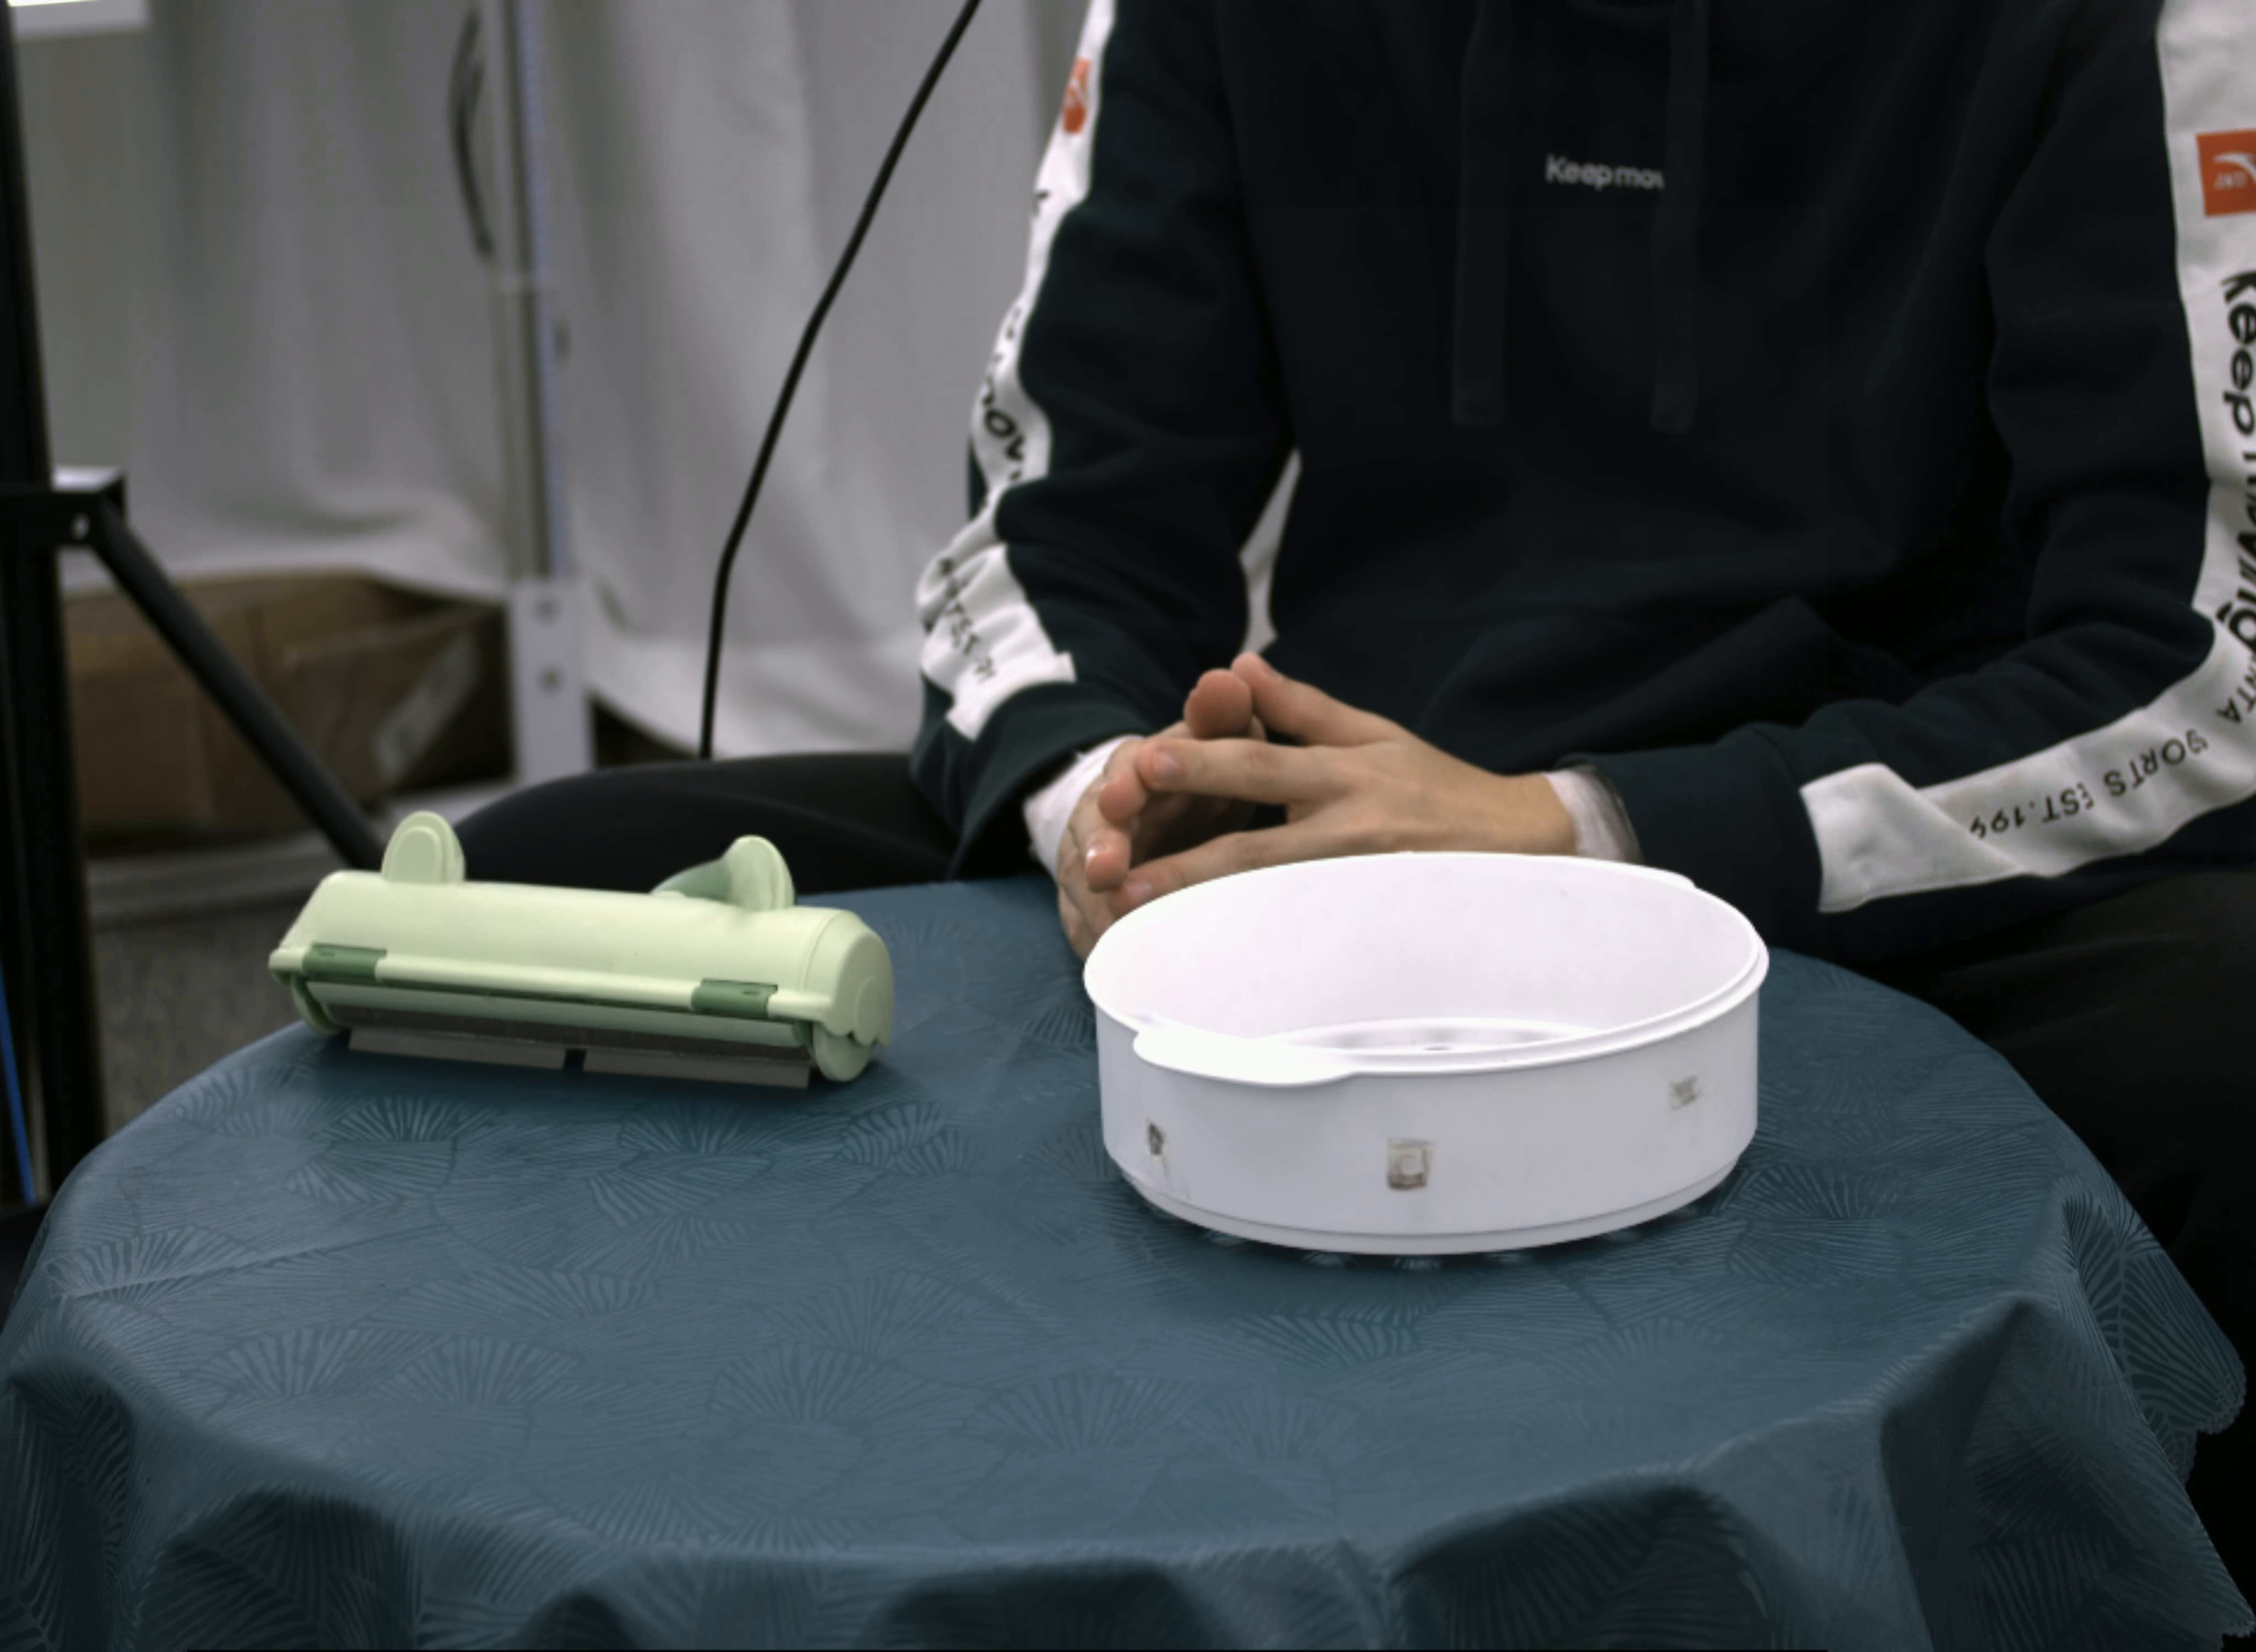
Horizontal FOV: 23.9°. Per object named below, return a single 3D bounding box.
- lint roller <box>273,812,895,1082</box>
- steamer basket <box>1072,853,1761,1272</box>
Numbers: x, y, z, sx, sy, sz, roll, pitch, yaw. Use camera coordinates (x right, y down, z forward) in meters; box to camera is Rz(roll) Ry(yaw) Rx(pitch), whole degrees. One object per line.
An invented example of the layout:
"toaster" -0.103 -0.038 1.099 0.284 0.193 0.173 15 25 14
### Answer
"lint roller" -0.154 0.022 1.745 0.201 0.082 0.181 4 21 22
"steamer basket" 0.085 0.069 1.555 0.206 0.069 0.226 8 21 35
